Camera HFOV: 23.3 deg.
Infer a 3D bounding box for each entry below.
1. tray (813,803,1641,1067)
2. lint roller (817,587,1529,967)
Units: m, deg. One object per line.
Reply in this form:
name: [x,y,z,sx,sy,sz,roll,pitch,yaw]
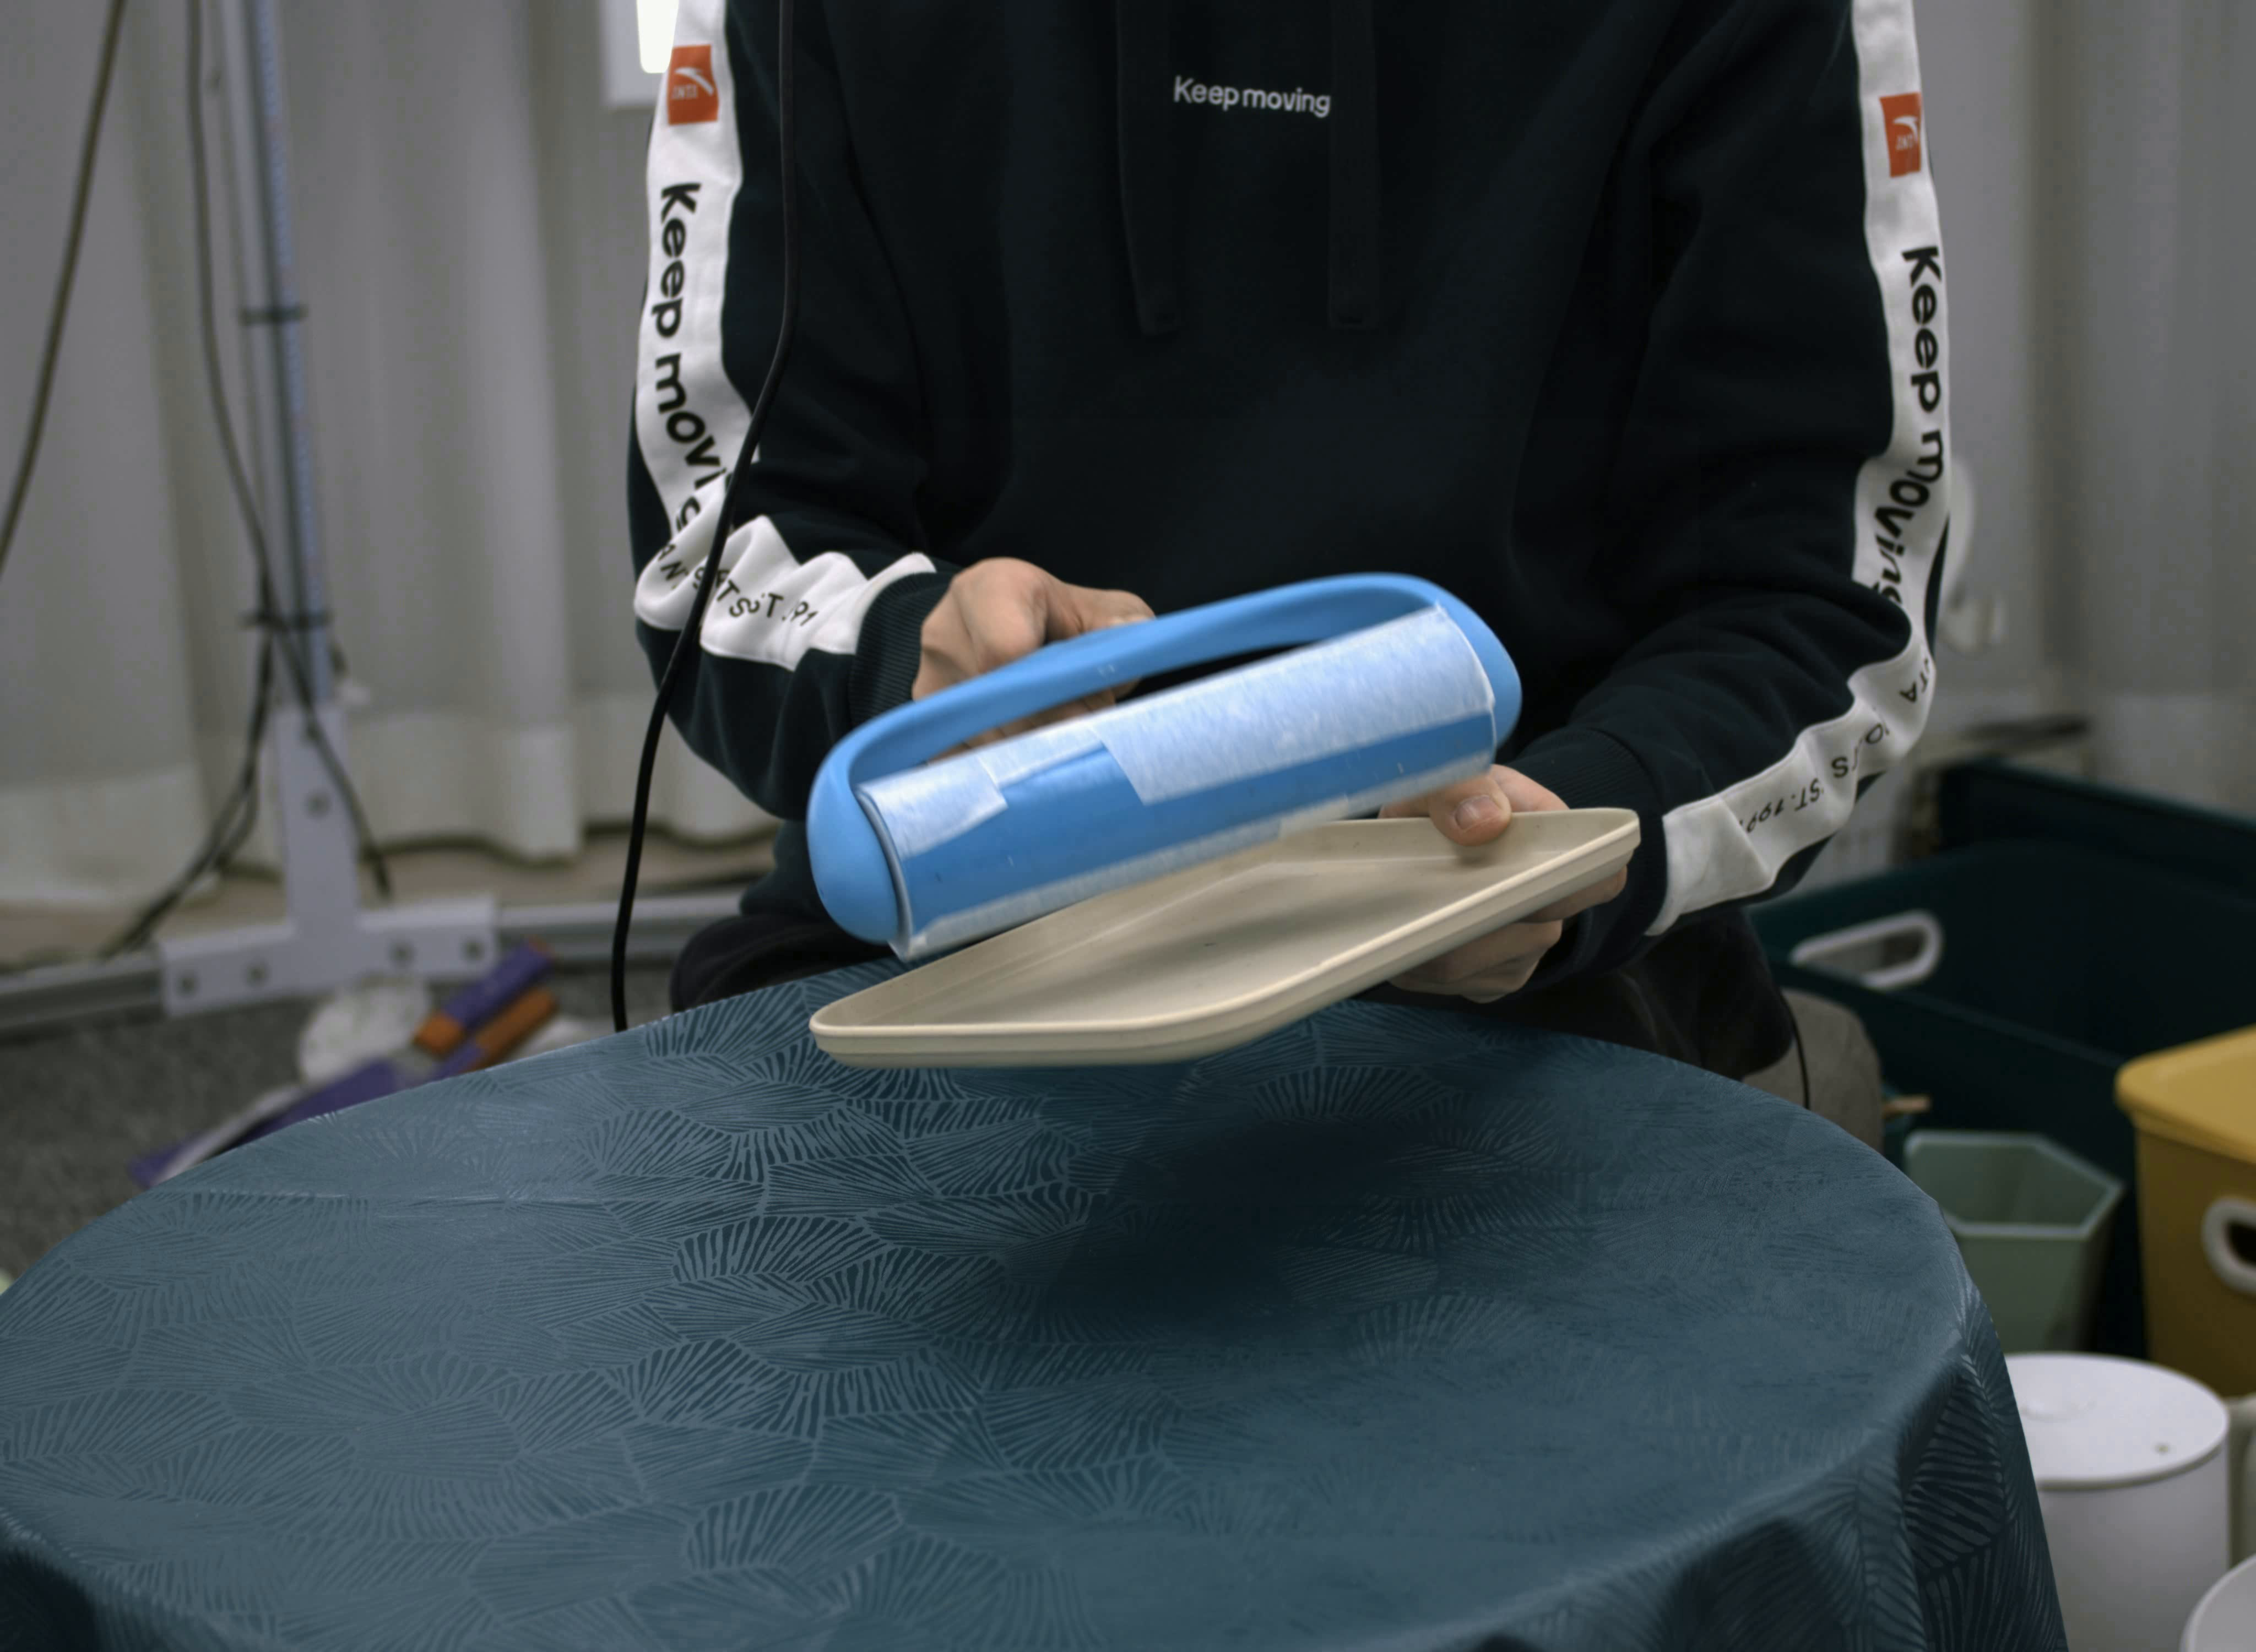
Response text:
tray: [0.033,0.033,1.649,0.171,0.017,0.239,-4,12,42]
lint roller: [-0.007,-0.025,1.704,0.228,0.067,0.181,-19,19,-18]
